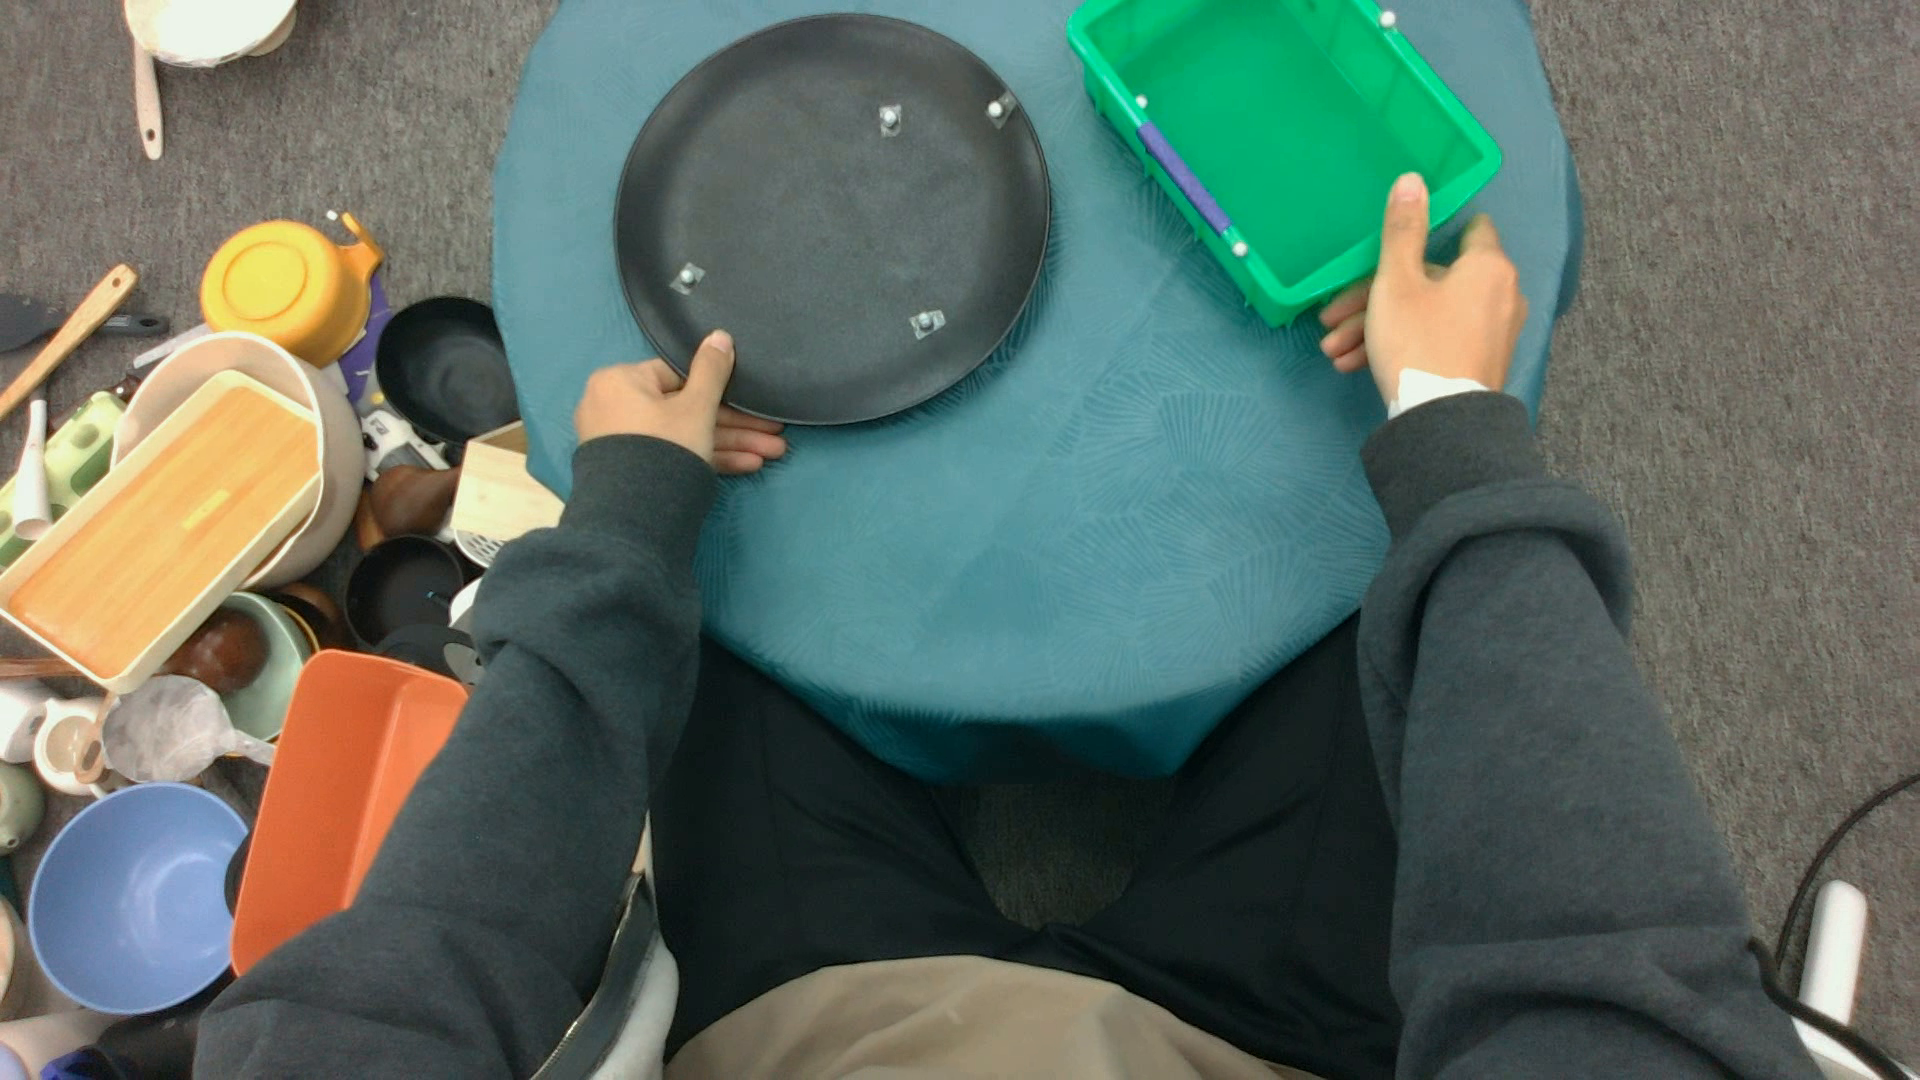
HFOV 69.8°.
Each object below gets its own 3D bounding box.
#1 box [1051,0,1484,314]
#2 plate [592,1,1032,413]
[{"bbox_3d":[0.157,-0.231,0.734,0.138,0.065,0.210,-36,80,-2],"label":"box"},{"bbox_3d":[-0.081,-0.184,0.763,0.244,0.023,0.245,-1,78,4],"label":"plate"}]
